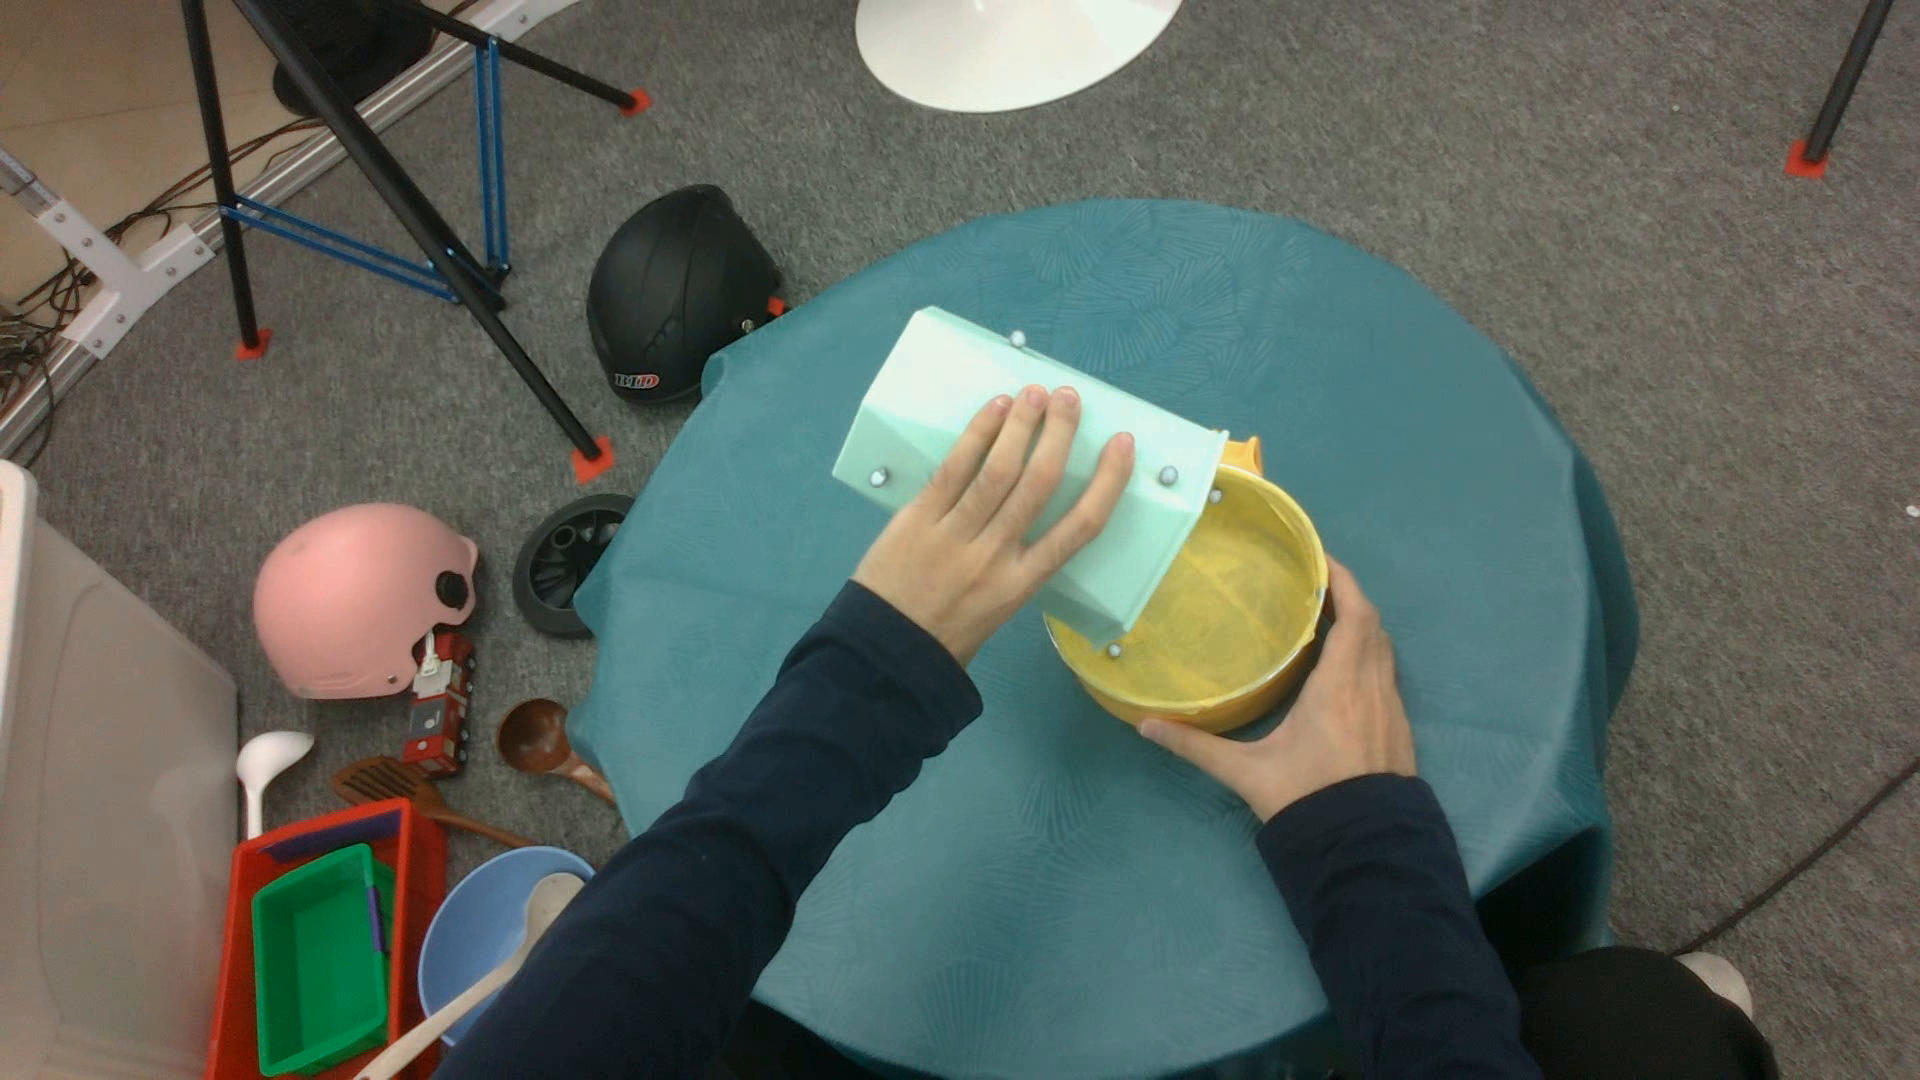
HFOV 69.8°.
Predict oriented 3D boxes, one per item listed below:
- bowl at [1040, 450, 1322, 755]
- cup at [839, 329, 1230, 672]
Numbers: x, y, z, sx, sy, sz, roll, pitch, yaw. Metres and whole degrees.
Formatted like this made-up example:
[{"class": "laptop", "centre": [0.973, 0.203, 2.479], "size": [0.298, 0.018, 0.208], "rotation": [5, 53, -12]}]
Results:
[{"class": "bowl", "centre": [0.131, 0.036, 0.783], "size": [0.153, 0.074, 0.180], "rotation": [8, 63, 22]}, {"class": "cup", "centre": [0.034, -0.026, 0.700], "size": [0.163, 0.130, 0.115], "rotation": [31, 76, 0]}]
